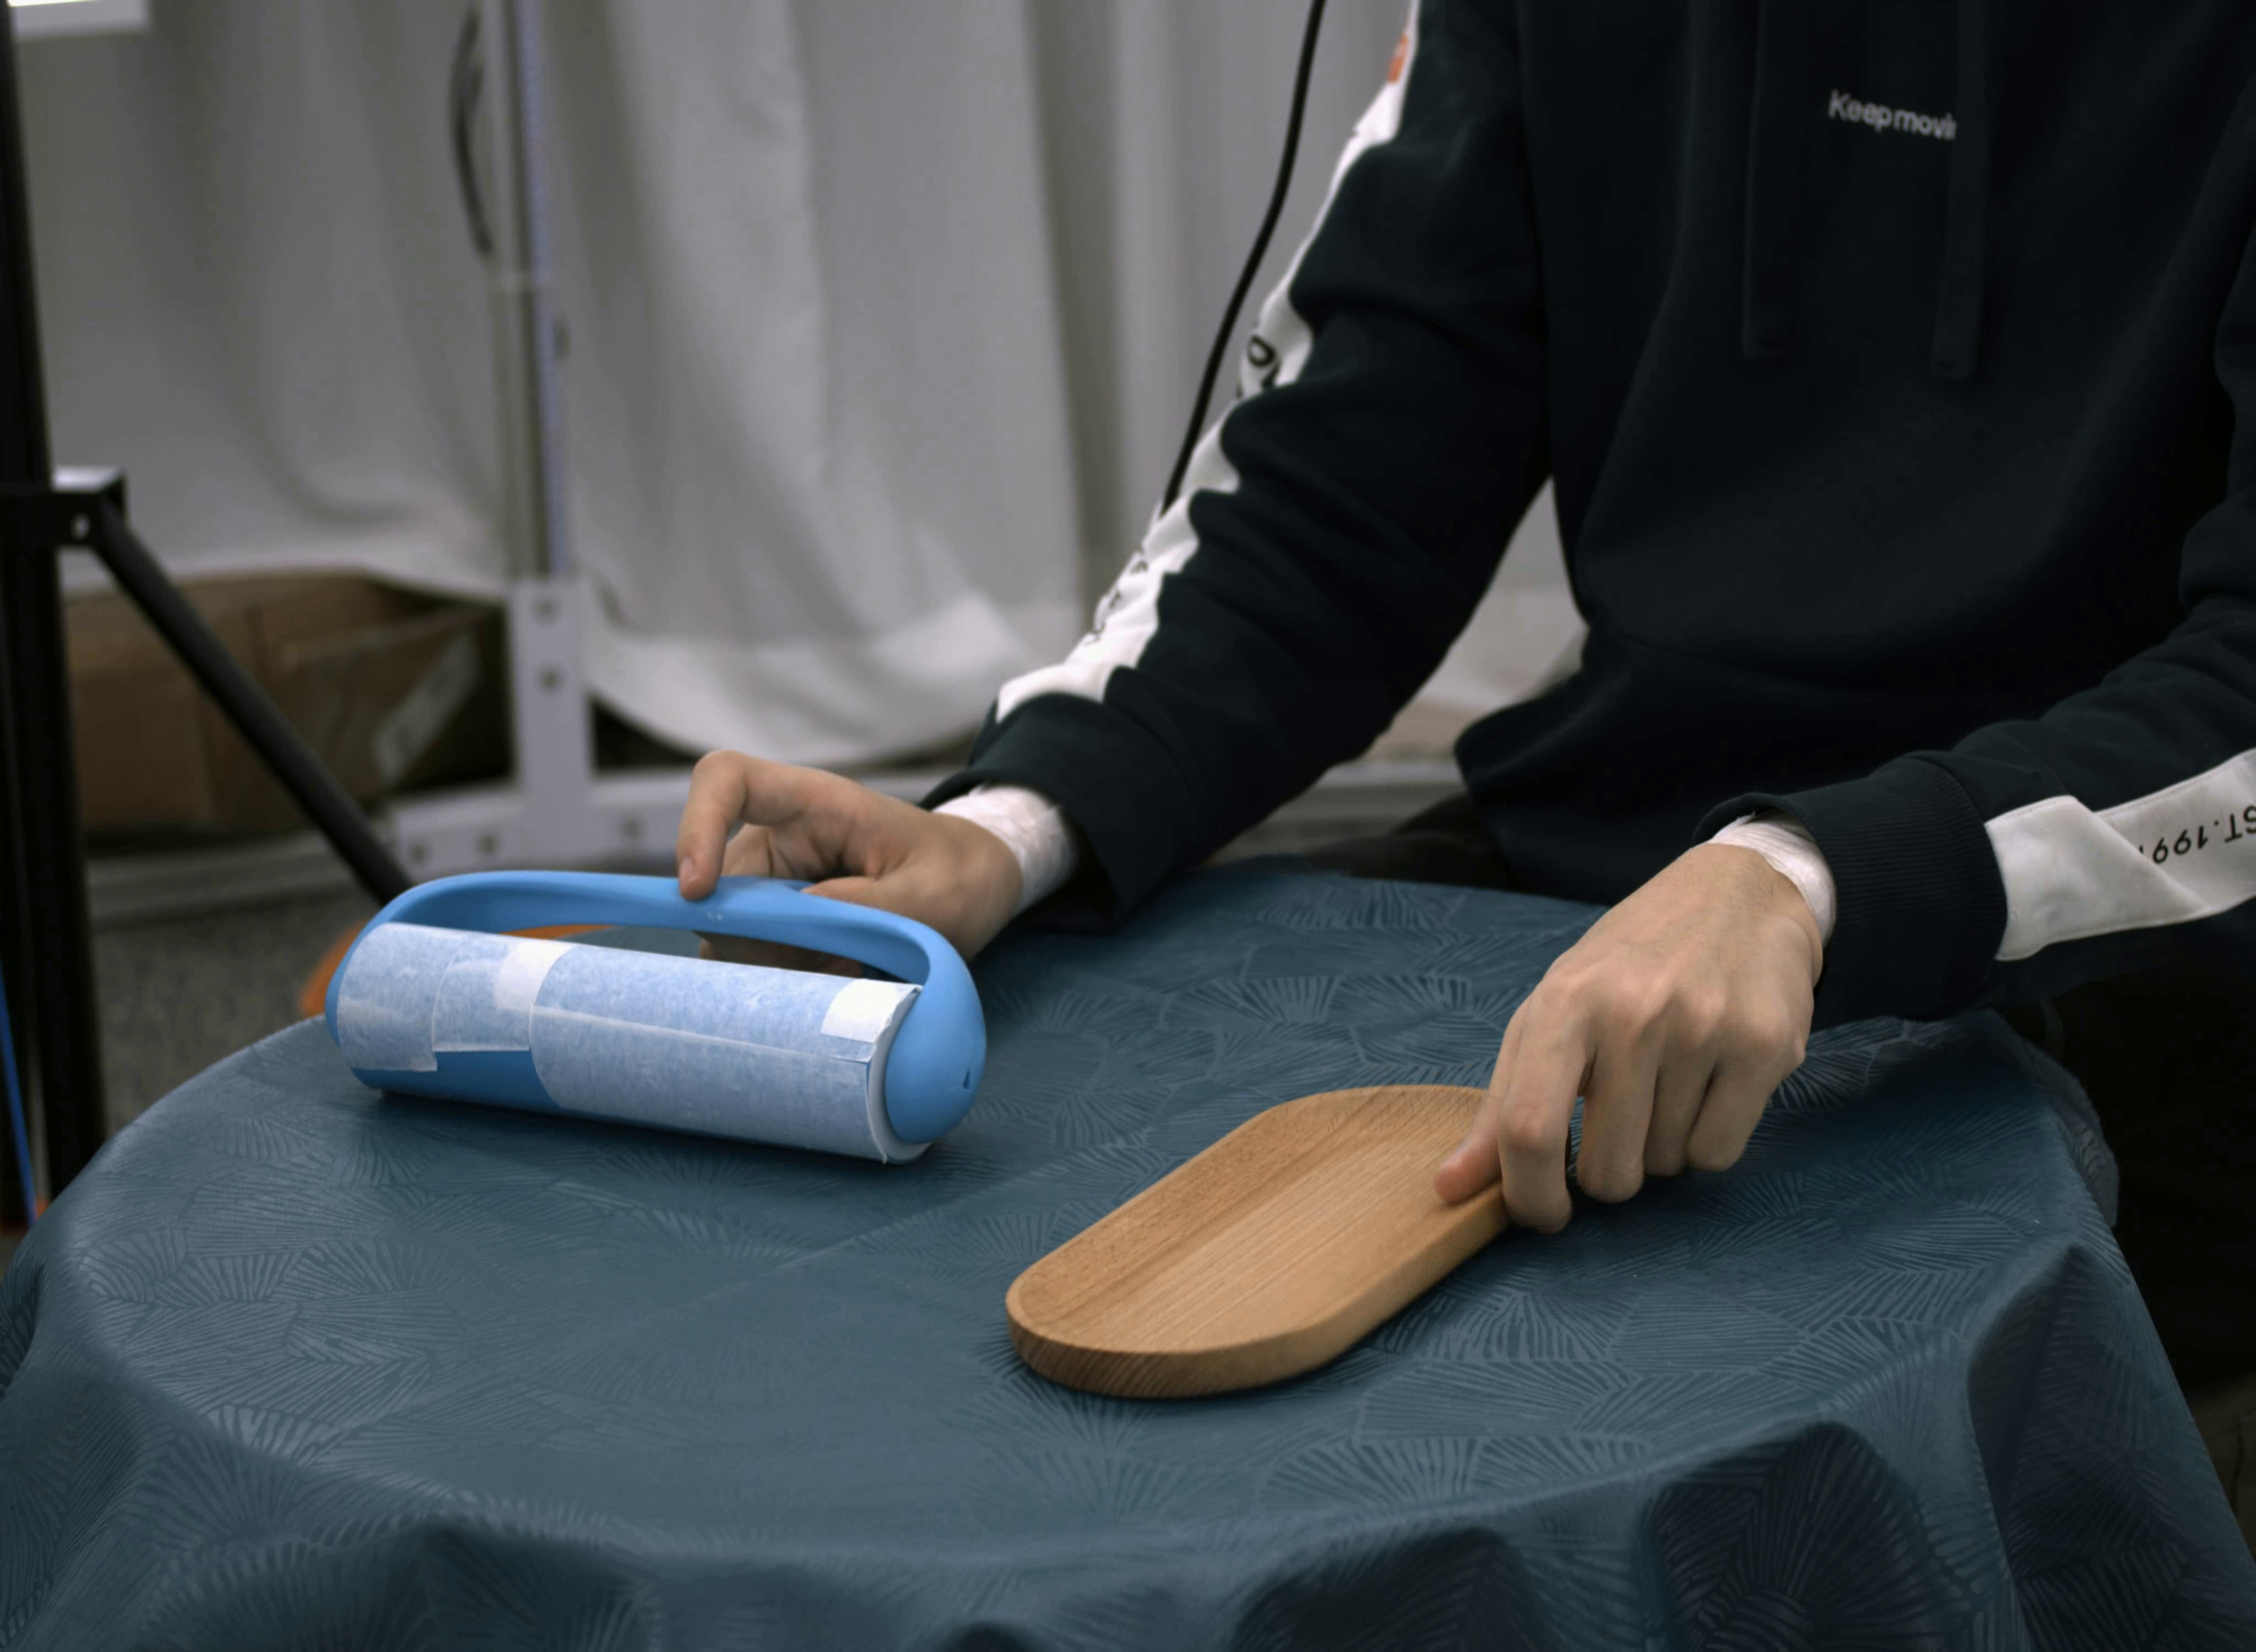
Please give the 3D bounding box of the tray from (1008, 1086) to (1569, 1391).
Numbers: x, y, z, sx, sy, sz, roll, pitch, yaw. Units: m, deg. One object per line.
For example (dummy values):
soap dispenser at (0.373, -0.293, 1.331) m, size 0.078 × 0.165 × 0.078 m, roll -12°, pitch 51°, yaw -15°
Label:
tray at (0.048, 0.114, 1.494) m, size 0.103 × 0.020 × 0.227 m, roll 3°, pitch 15°, yaw 29°

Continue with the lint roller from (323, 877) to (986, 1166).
lint roller at (-0.123, 0.049, 1.683) m, size 0.232 × 0.068 × 0.177 m, roll 4°, pitch 18°, yaw 26°
